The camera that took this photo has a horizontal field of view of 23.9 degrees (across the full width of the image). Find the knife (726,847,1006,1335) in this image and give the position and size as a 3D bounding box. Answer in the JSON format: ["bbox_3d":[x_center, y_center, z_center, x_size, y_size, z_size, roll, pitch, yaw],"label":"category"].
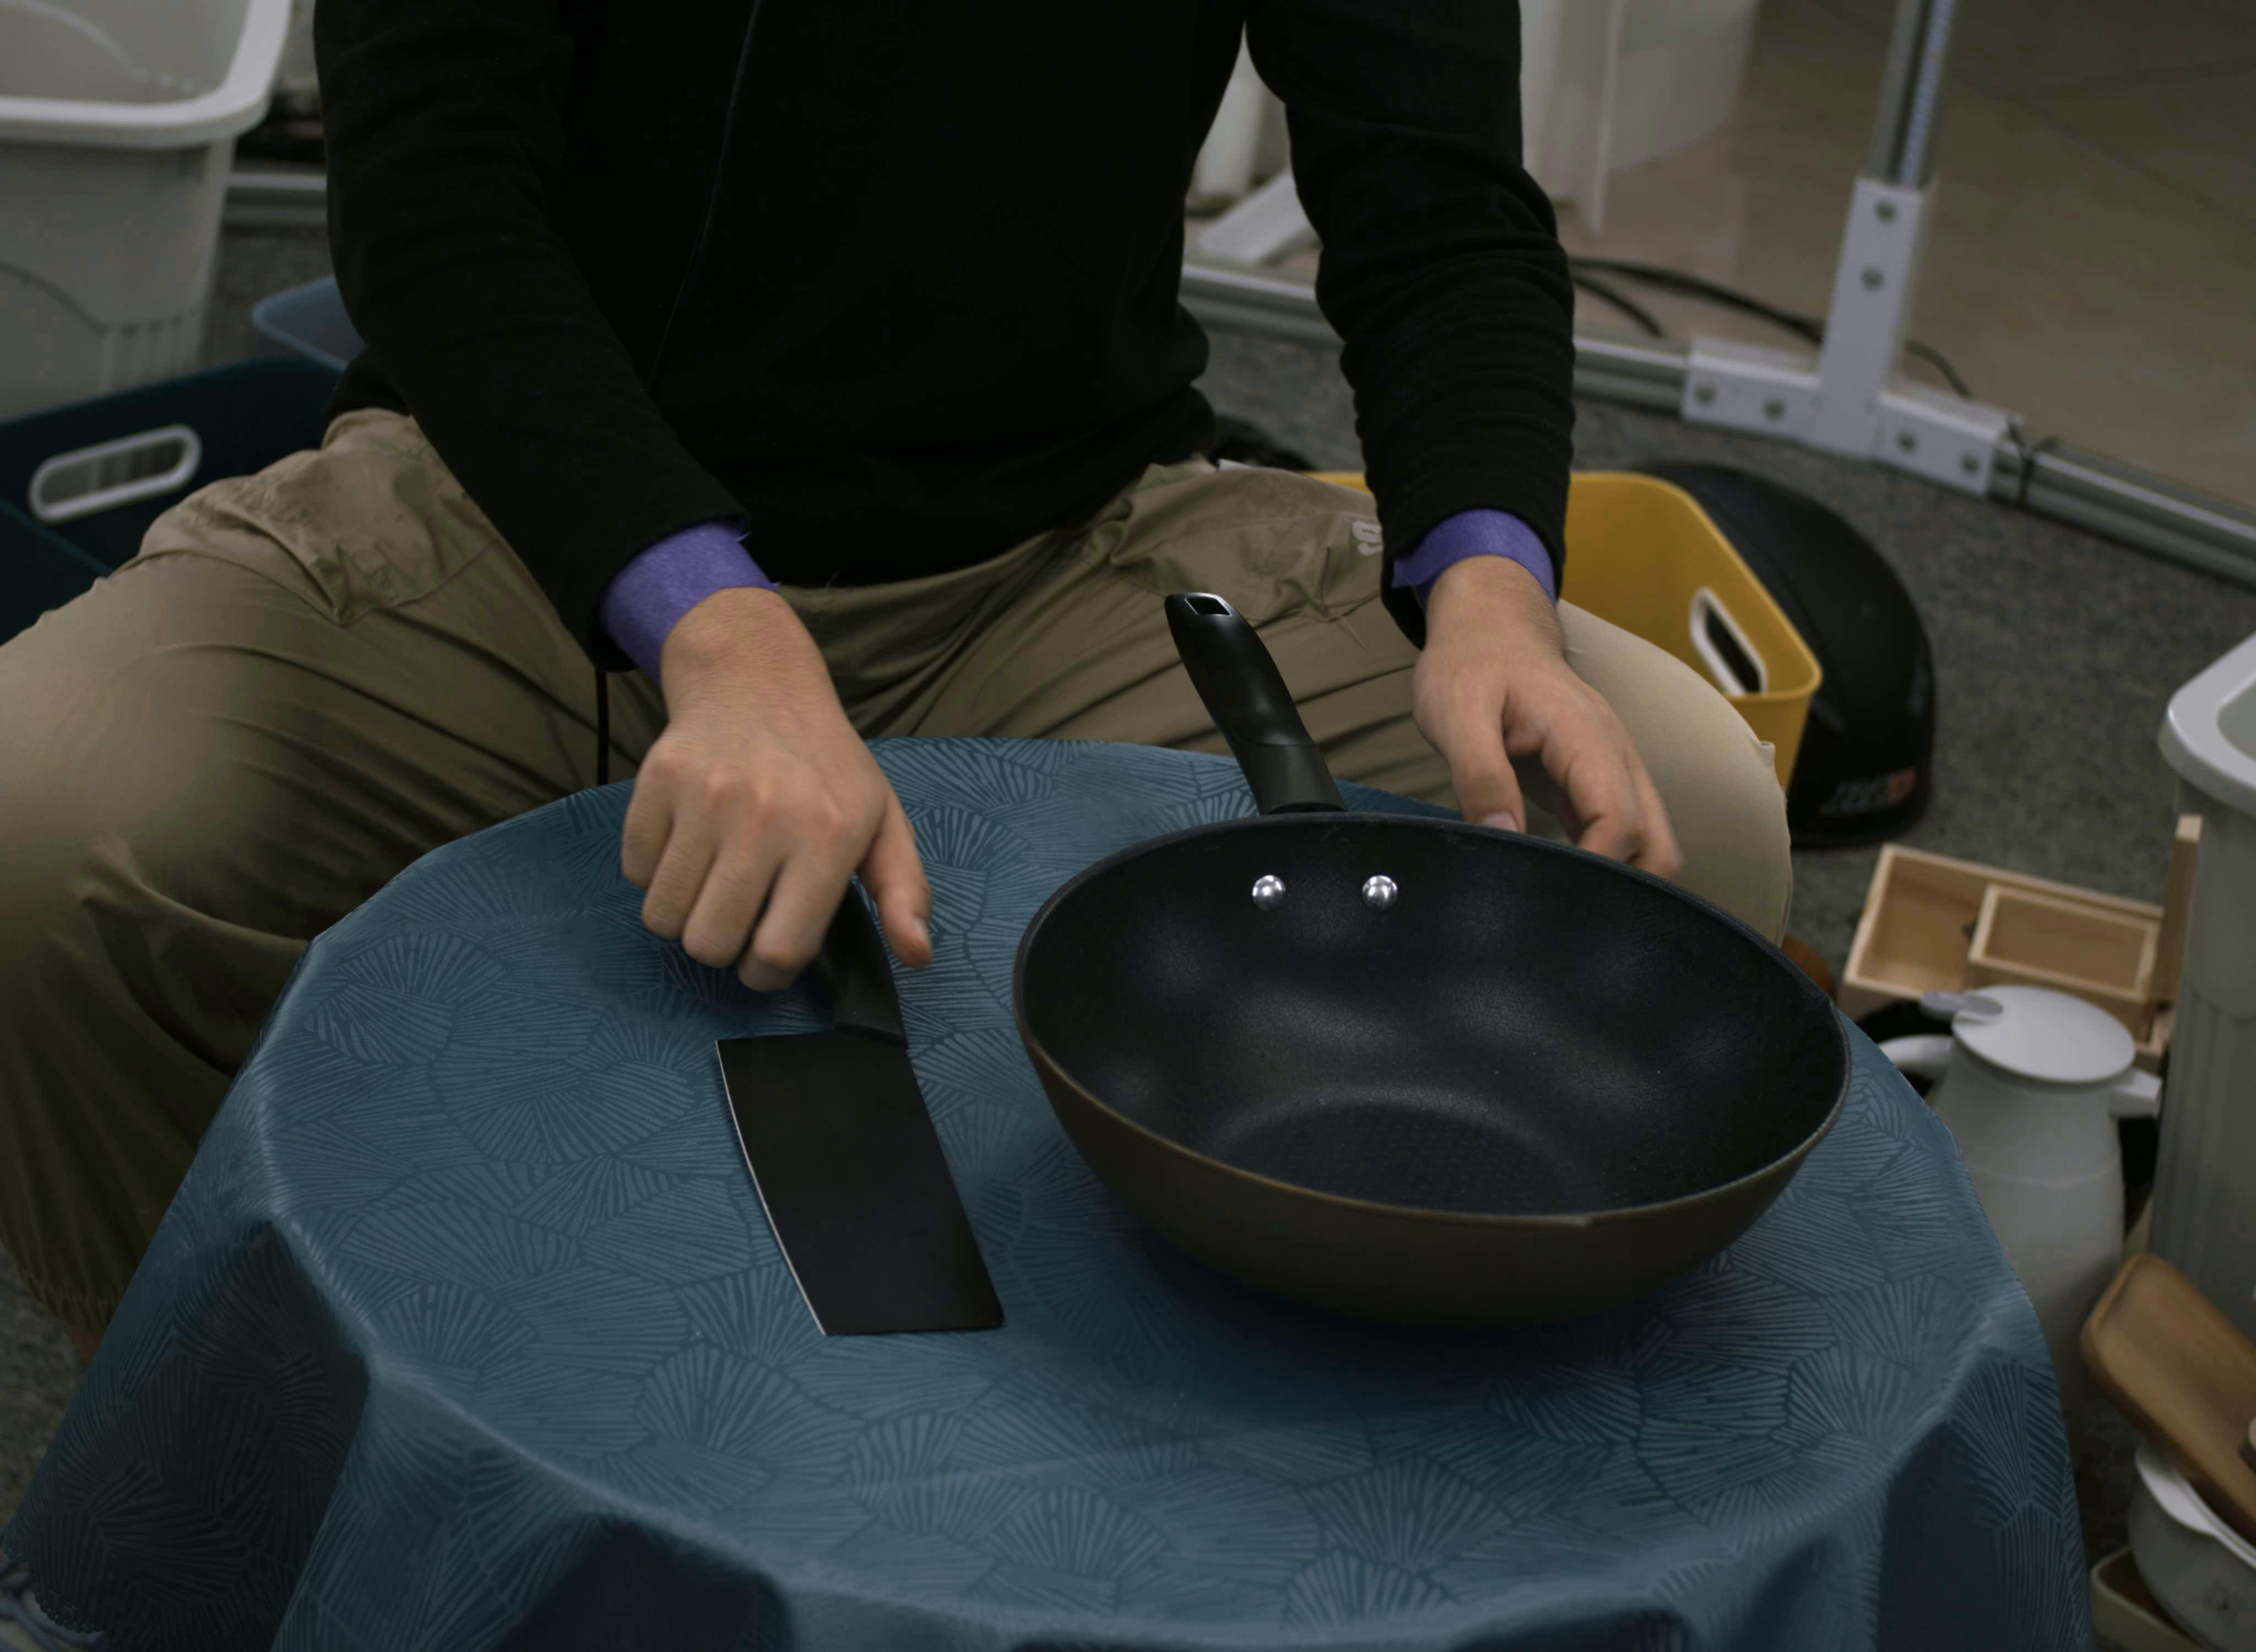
[{"bbox_3d":[-0.099,0.089,1.837,0.080,0.021,0.305,0,29,-10],"label":"knife"}]

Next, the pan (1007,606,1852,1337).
[{"bbox_3d":[0.077,0.053,1.871,0.286,0.086,0.467,-1,27,-14],"label":"pan"}]
